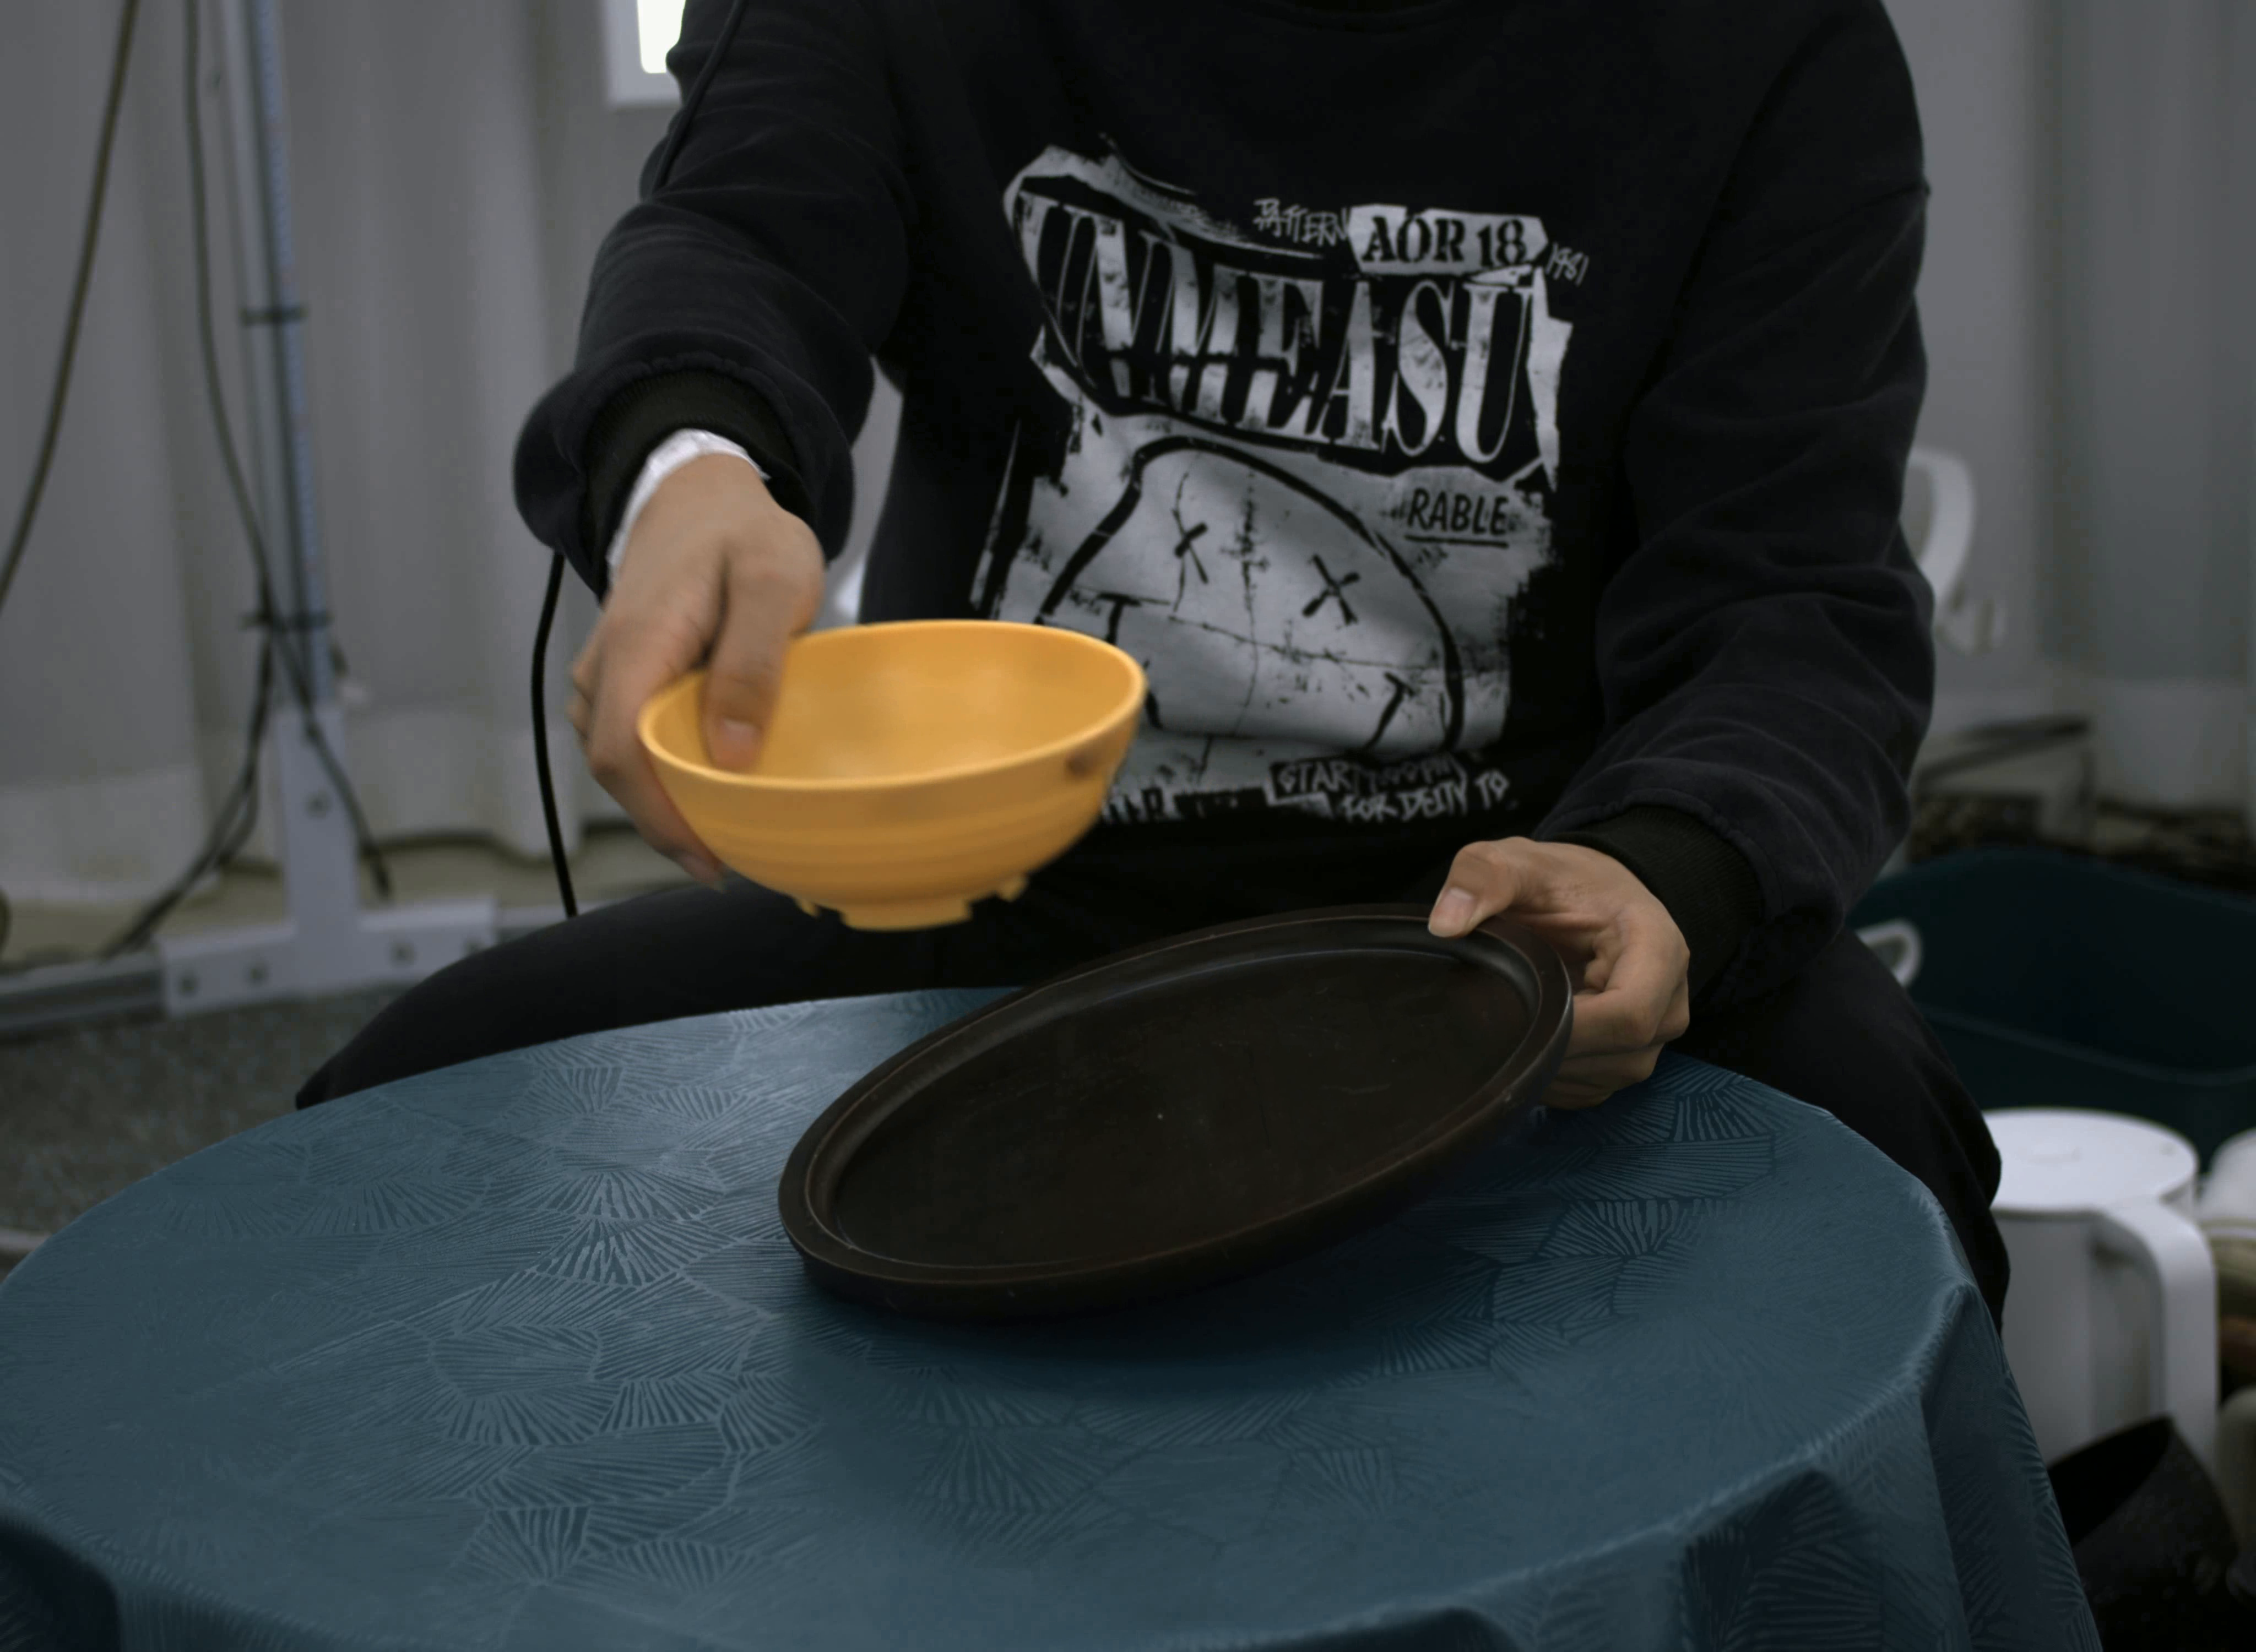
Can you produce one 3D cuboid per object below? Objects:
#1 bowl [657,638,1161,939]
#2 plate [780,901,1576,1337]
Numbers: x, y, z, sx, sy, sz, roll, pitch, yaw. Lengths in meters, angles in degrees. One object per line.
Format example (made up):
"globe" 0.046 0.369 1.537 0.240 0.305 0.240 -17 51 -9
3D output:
"bowl" -0.061 -0.006 1.568 0.145 0.060 0.146 -4 18 1
"plate" 0.016 0.088 1.668 0.254 0.029 0.257 -17 18 5
